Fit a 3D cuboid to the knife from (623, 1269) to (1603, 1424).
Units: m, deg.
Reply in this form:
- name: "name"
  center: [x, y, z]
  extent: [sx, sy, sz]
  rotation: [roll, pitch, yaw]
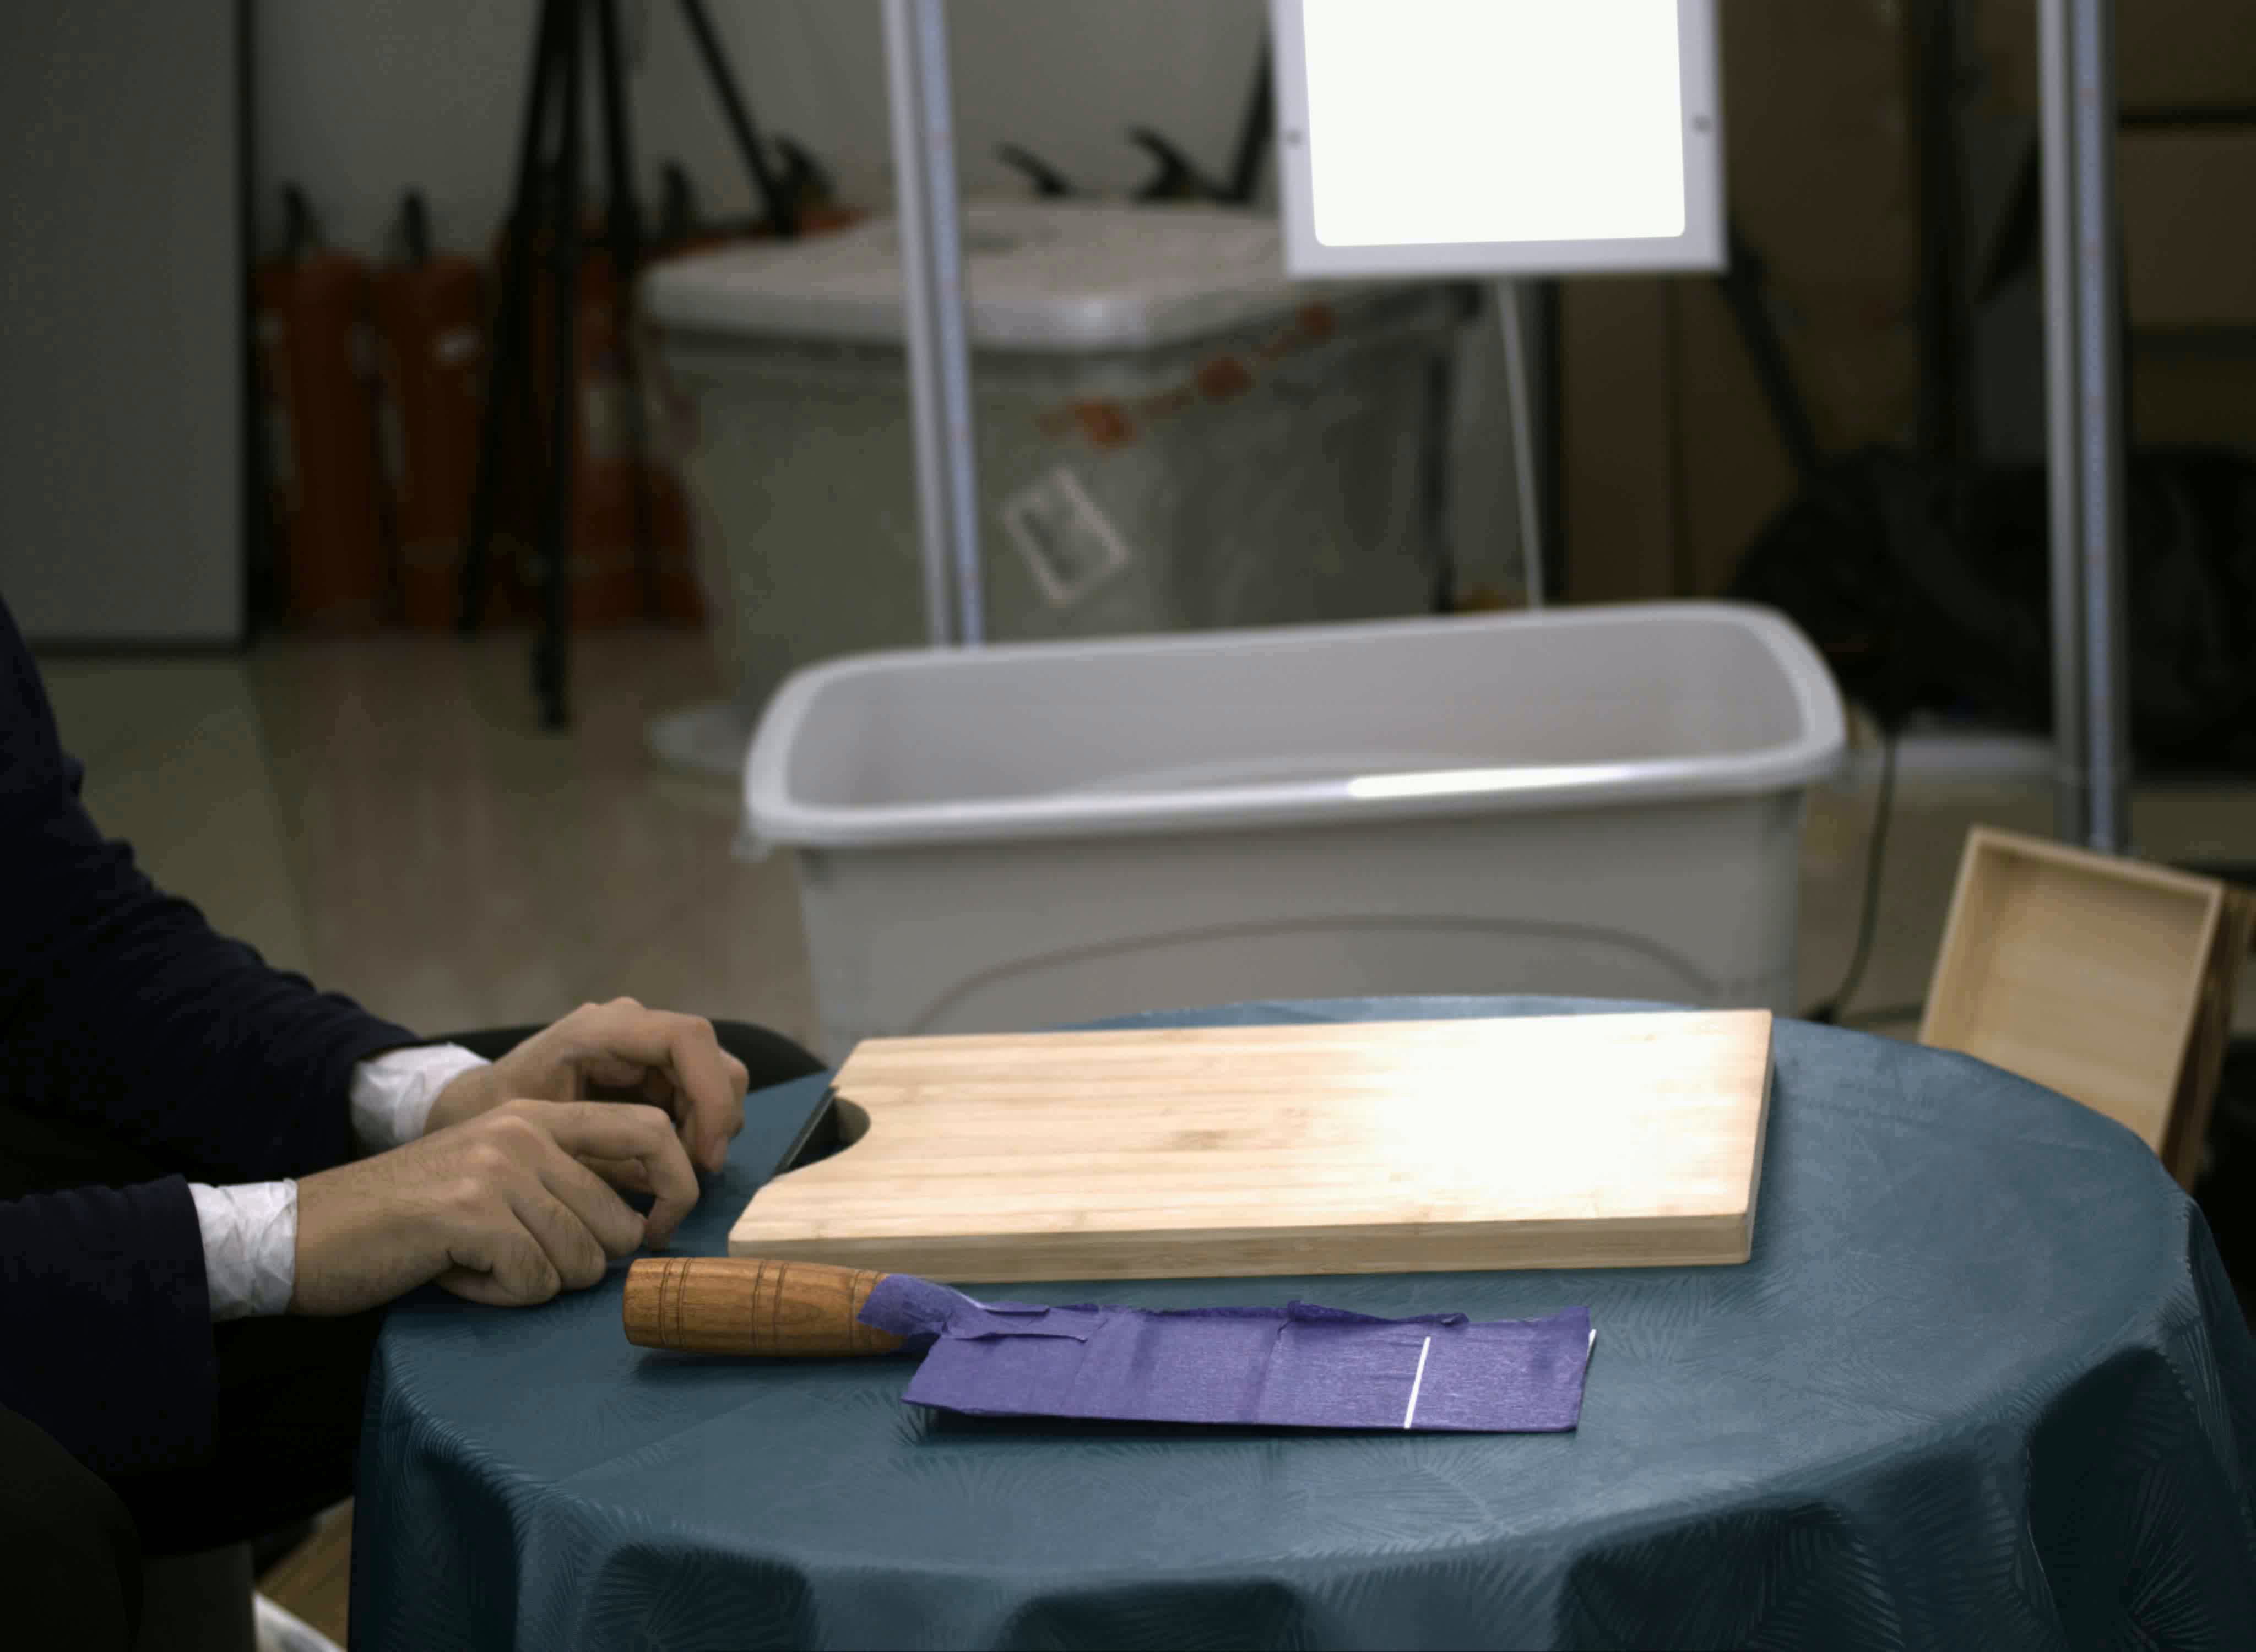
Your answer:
- name: "knife"
  center: [-0.011, 0.161, 1.708]
  extent: [0.317, 0.032, 0.102]
  rotation: [-2, 14, 13]

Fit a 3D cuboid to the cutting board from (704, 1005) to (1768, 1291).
- name: "cutting board"
  center: [0.046, 0.111, 1.916]
  extent: [0.351, 0.023, 0.248]
  rotation: [-3, 14, 11]
